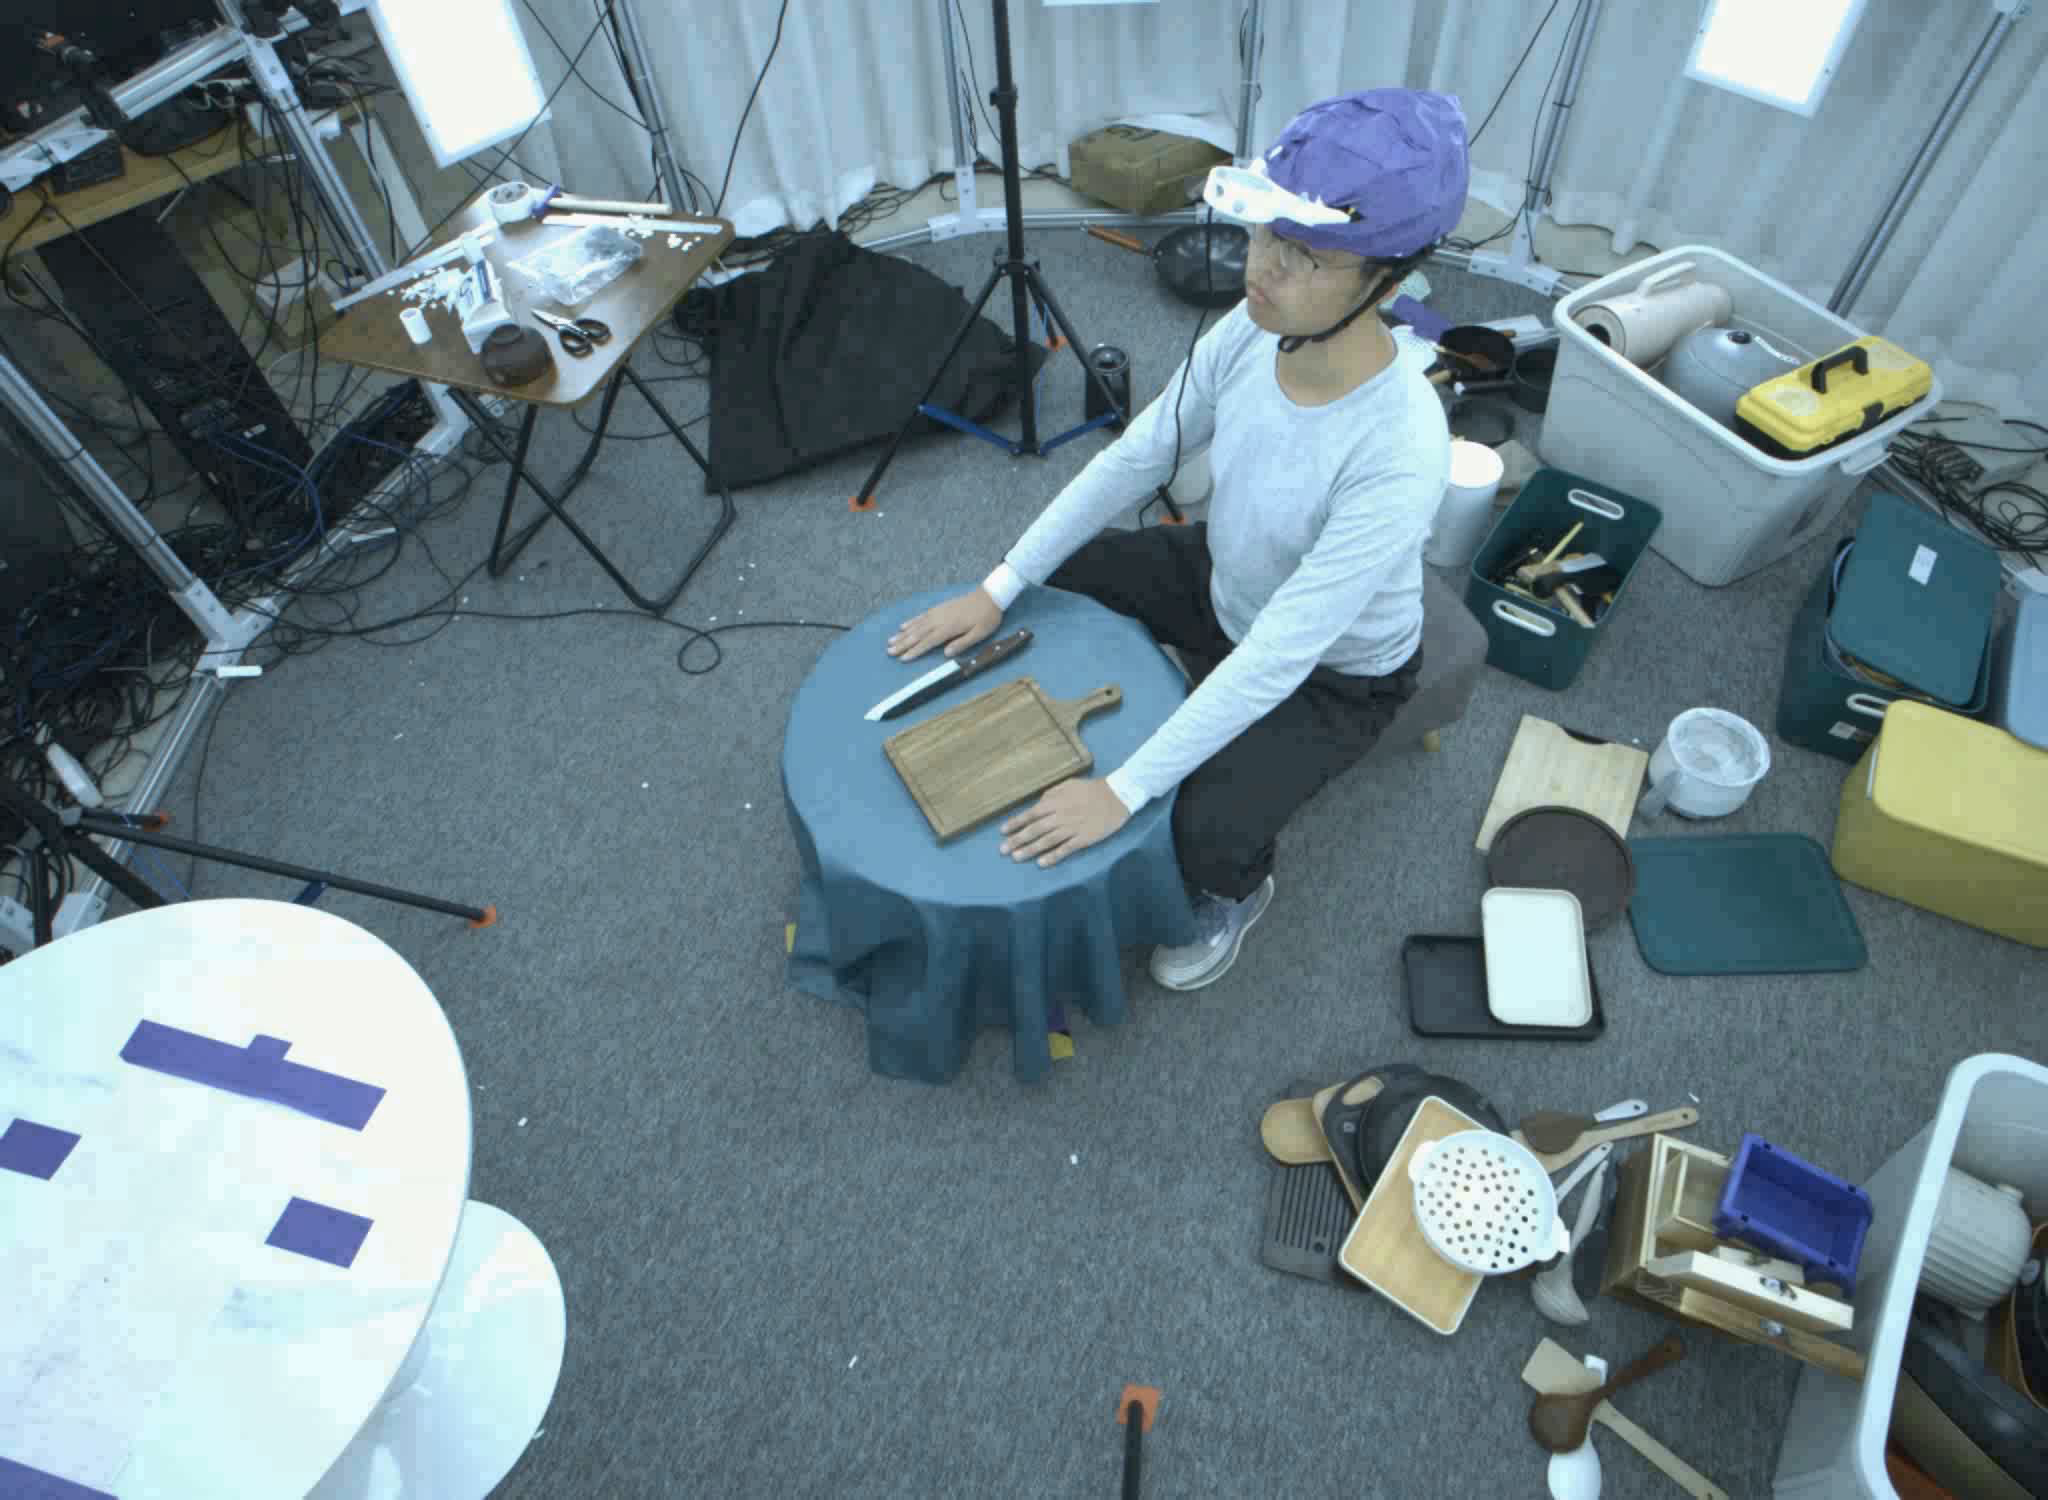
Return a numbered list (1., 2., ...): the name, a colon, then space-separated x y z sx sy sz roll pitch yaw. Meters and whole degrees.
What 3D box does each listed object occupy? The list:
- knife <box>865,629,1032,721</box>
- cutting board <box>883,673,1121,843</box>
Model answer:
1. knife: -0.114 -0.113 1.870 0.291 0.020 0.049 -29 53 -15
2. cutting board: -0.010 -0.015 1.794 0.355 0.023 0.197 -26 58 -16
